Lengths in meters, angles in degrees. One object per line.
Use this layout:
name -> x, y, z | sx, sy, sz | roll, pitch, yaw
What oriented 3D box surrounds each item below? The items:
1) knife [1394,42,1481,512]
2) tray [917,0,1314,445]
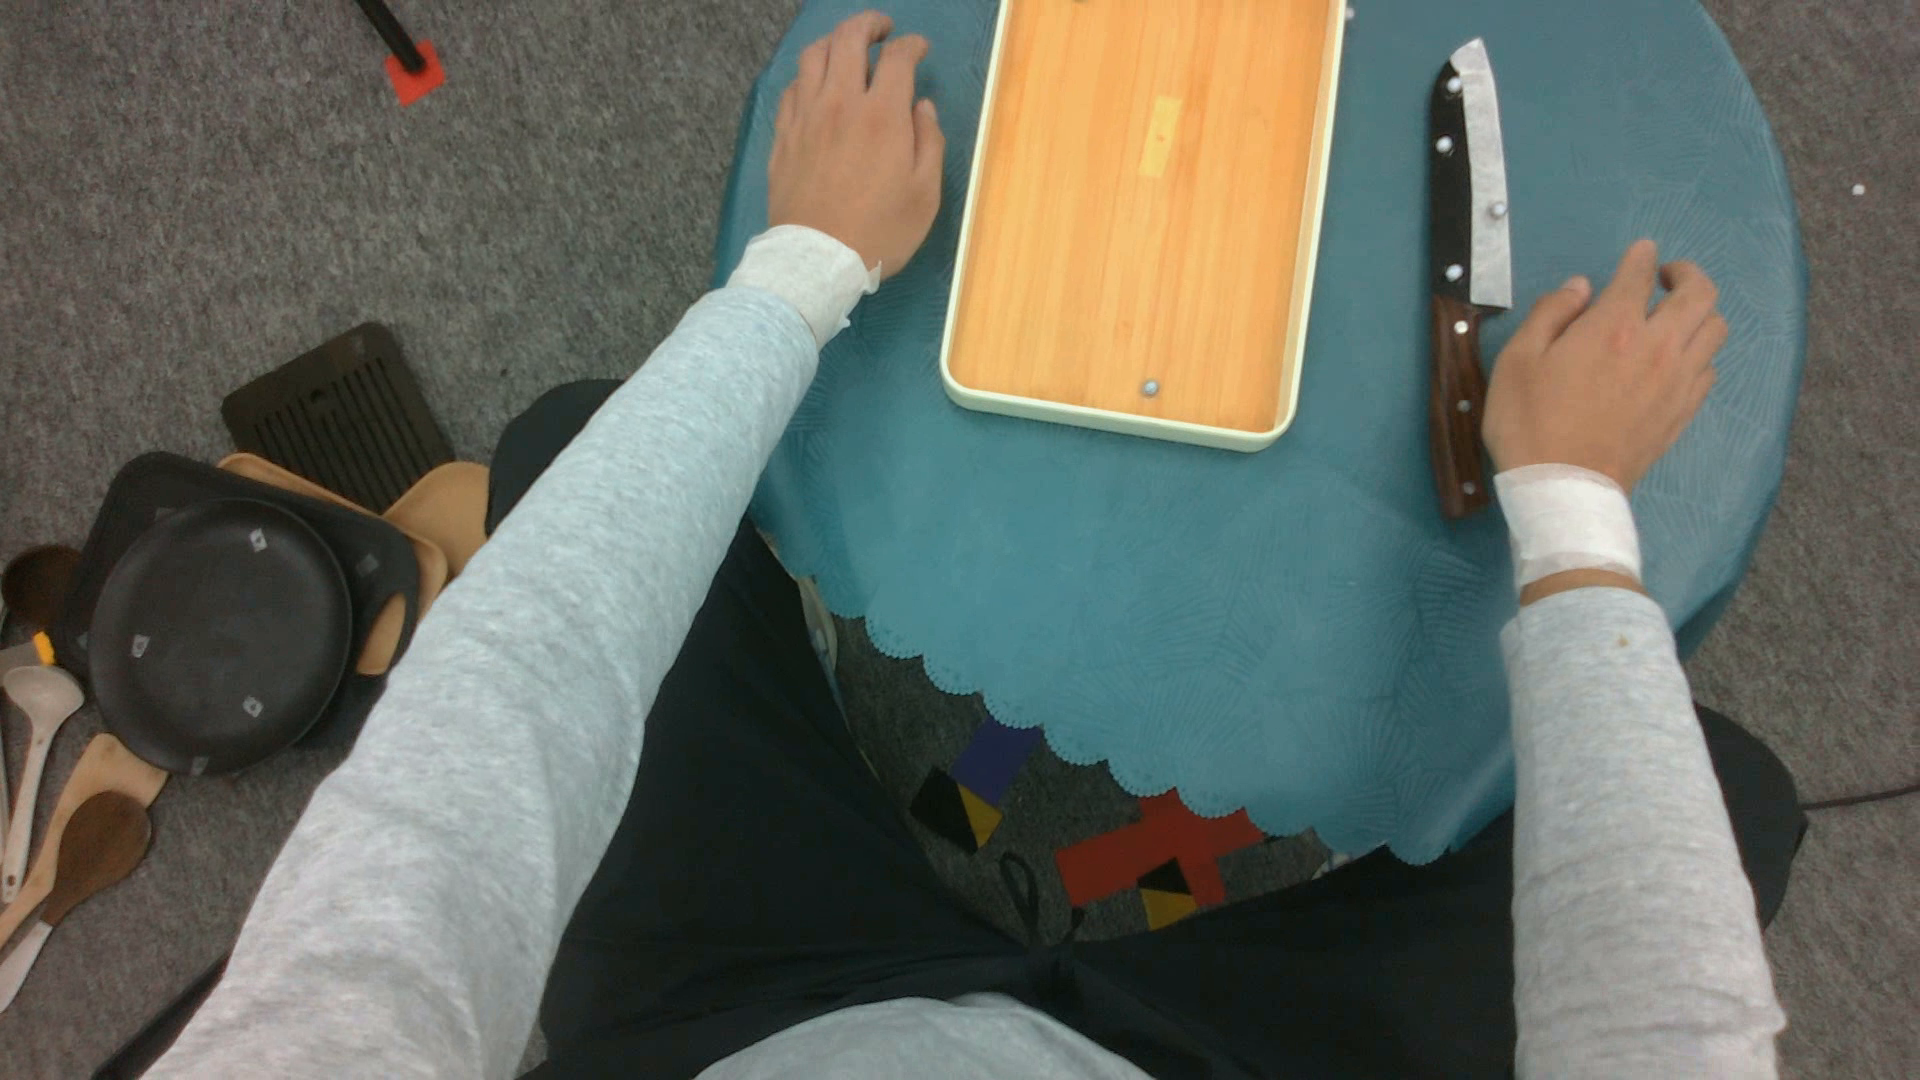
knife -> 0.265, -0.153, 0.764 | 0.050, 0.020, 0.290 | 6, 74, -2
tray -> 0.090, -0.208, 0.767 | 0.191, 0.027, 0.301 | 9, 77, 1
